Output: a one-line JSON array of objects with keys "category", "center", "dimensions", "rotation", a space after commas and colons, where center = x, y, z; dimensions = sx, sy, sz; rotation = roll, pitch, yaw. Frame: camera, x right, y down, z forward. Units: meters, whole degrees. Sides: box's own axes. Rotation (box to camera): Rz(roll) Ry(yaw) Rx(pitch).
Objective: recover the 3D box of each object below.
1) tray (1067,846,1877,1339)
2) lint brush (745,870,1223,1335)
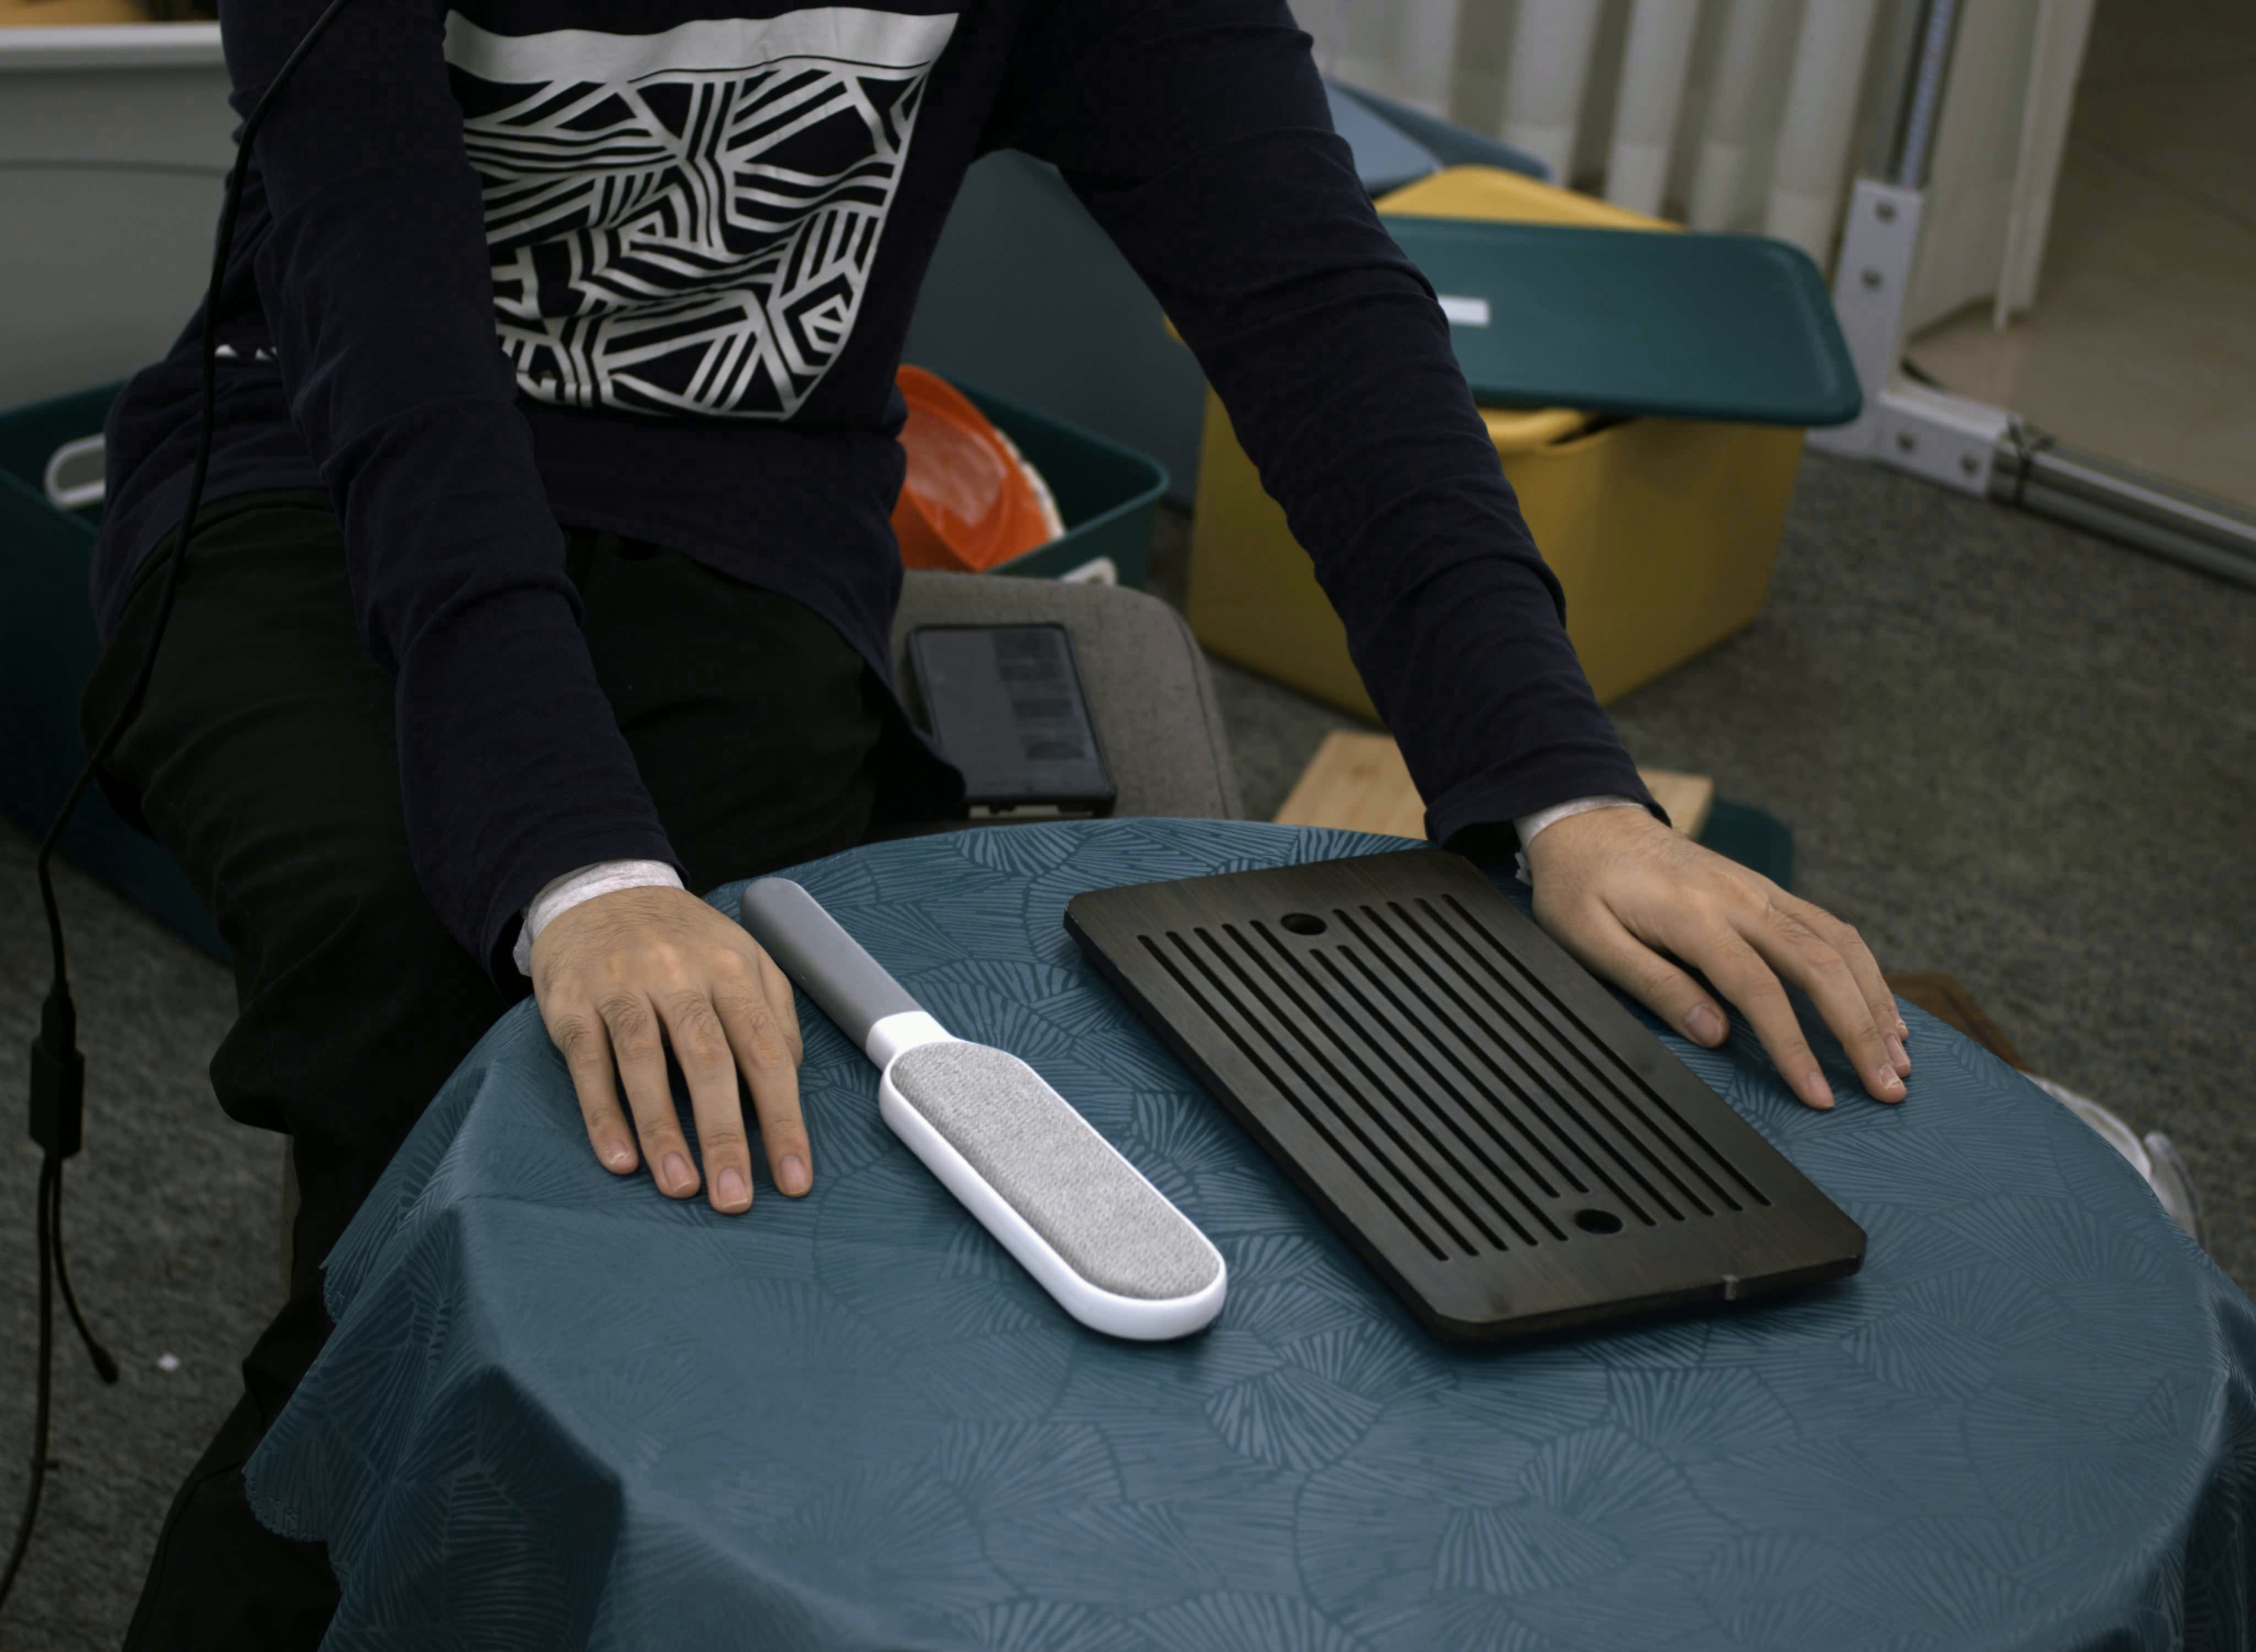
[{"category": "tray", "center": [0.115, 0.091, 1.878], "dimensions": [0.169, 0.018, 0.309], "rotation": [-8, 30, -26]}, {"category": "lint brush", "center": [-0.057, 0.090, 1.830], "dimensions": [0.060, 0.021, 0.312], "rotation": [-14, 33, -25]}]
